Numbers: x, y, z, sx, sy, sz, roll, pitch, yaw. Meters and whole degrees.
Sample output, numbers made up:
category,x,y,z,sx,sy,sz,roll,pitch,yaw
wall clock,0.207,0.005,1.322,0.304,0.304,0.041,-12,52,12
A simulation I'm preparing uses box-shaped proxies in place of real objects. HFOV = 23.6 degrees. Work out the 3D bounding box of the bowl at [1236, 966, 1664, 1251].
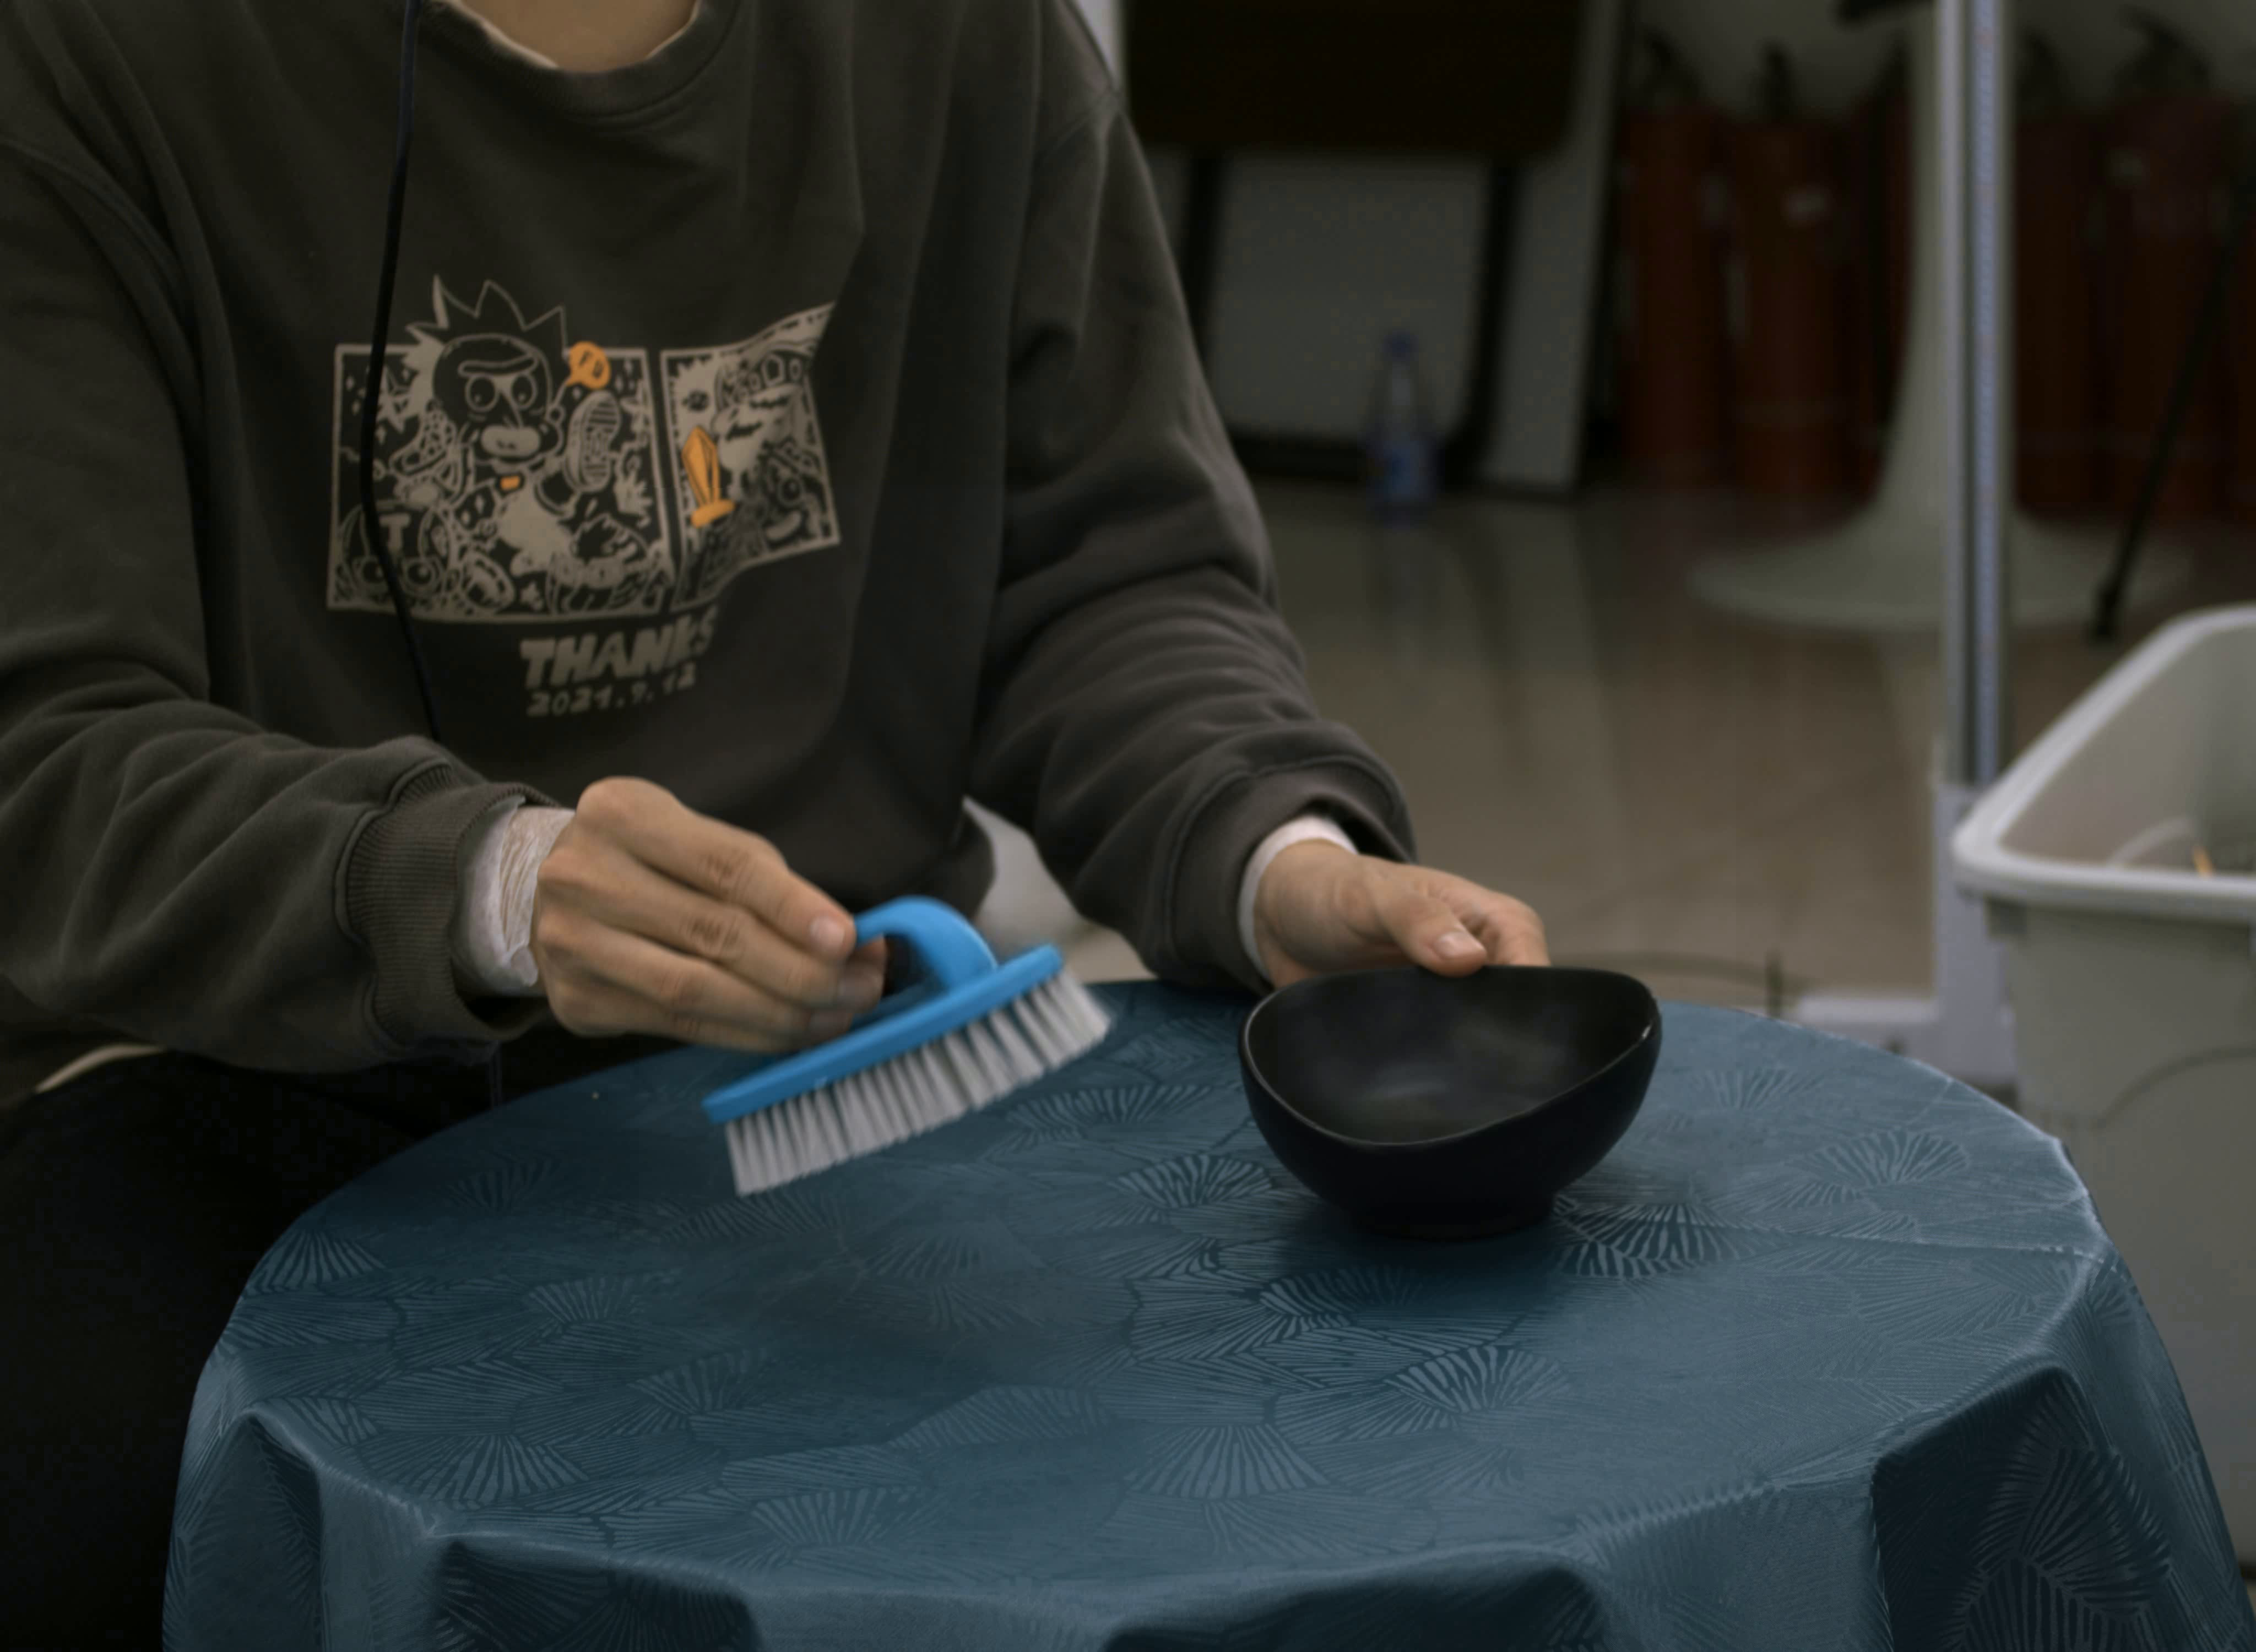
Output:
category,x,y,z,sx,sy,sz,roll,pitch,yaw
bowl,0.104,0.094,1.725,0.137,0.067,0.169,-1,15,15

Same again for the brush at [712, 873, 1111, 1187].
category,x,y,z,sx,sy,sz,roll,pitch,yaw
brush,-0.075,0.054,1.633,0.143,0.064,0.083,-26,7,41
